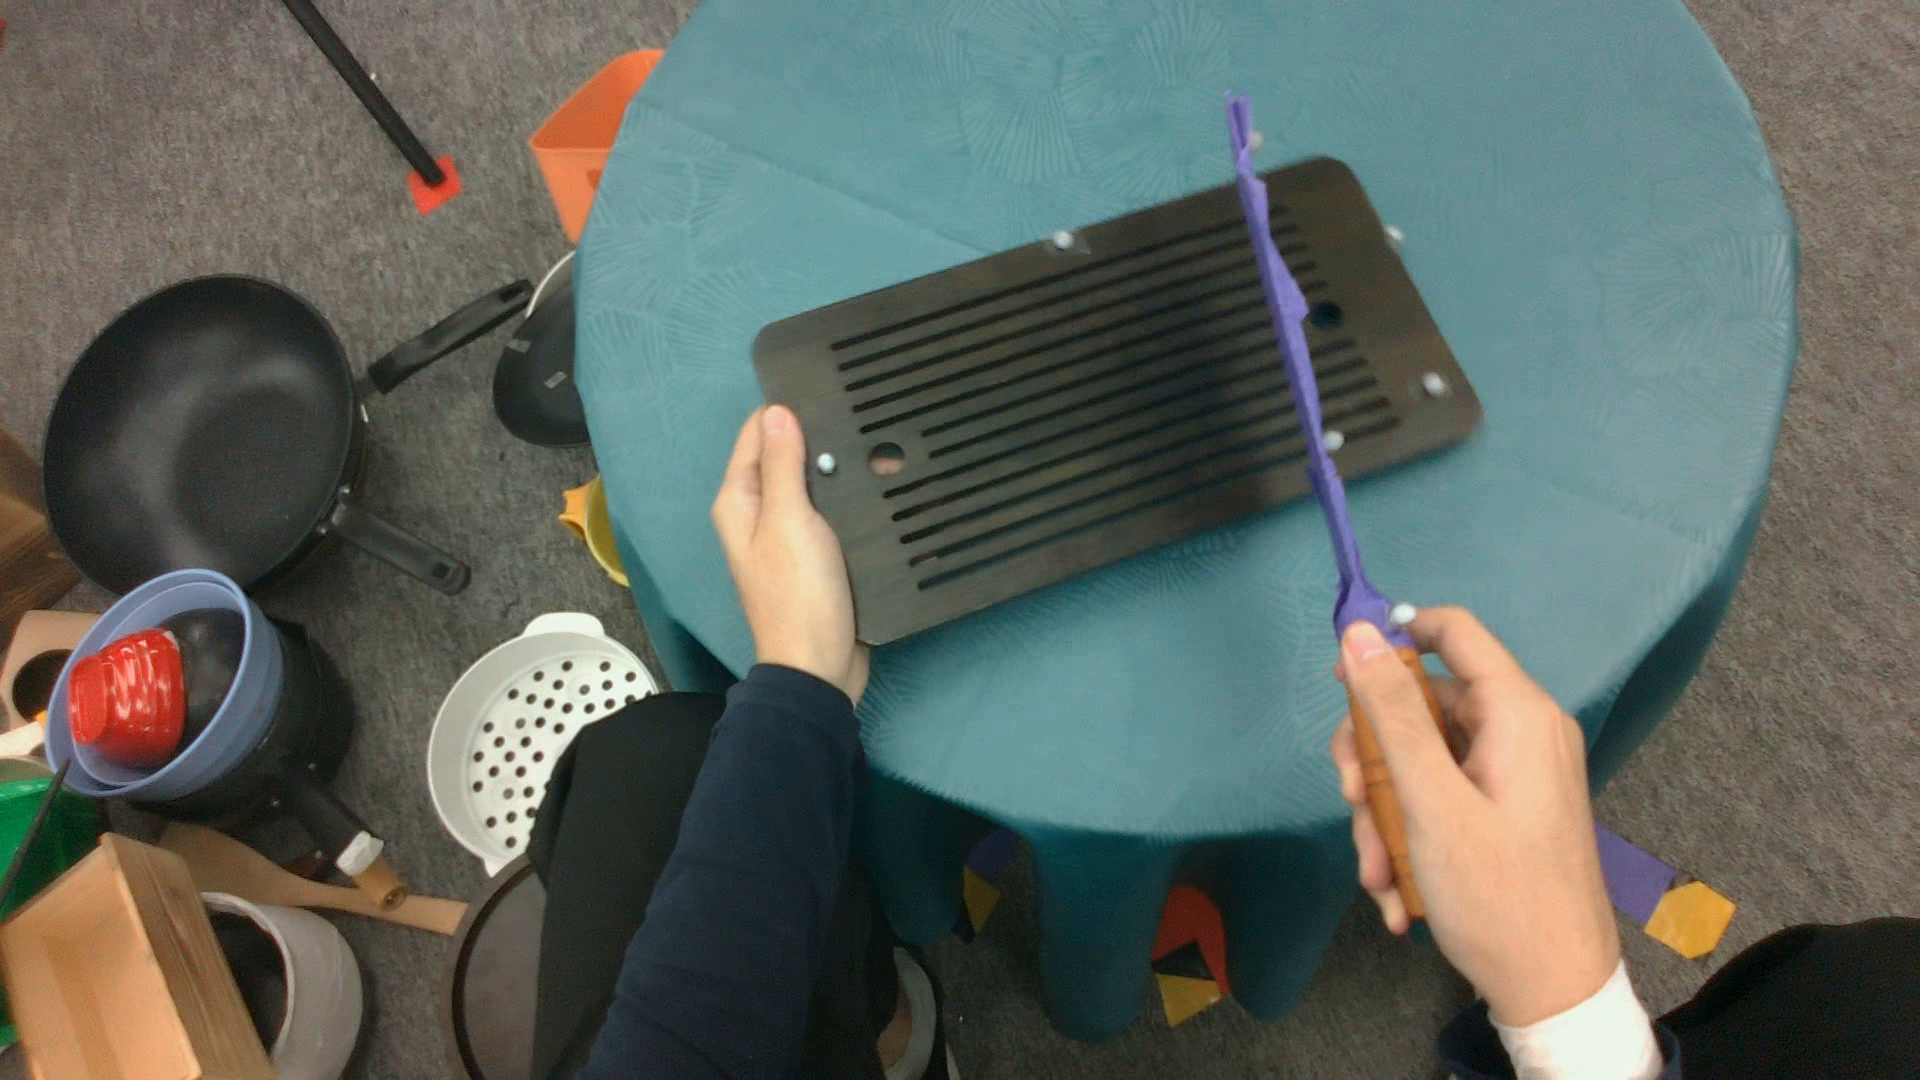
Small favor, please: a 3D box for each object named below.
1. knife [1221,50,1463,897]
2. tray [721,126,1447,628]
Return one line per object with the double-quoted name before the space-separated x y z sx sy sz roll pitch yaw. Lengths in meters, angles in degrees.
"knife" 0.140 -0.028 0.528 0.032 0.104 0.316 -12 76 14
"tray" 0.056 -0.083 0.642 0.306 0.018 0.170 -20 69 -8
